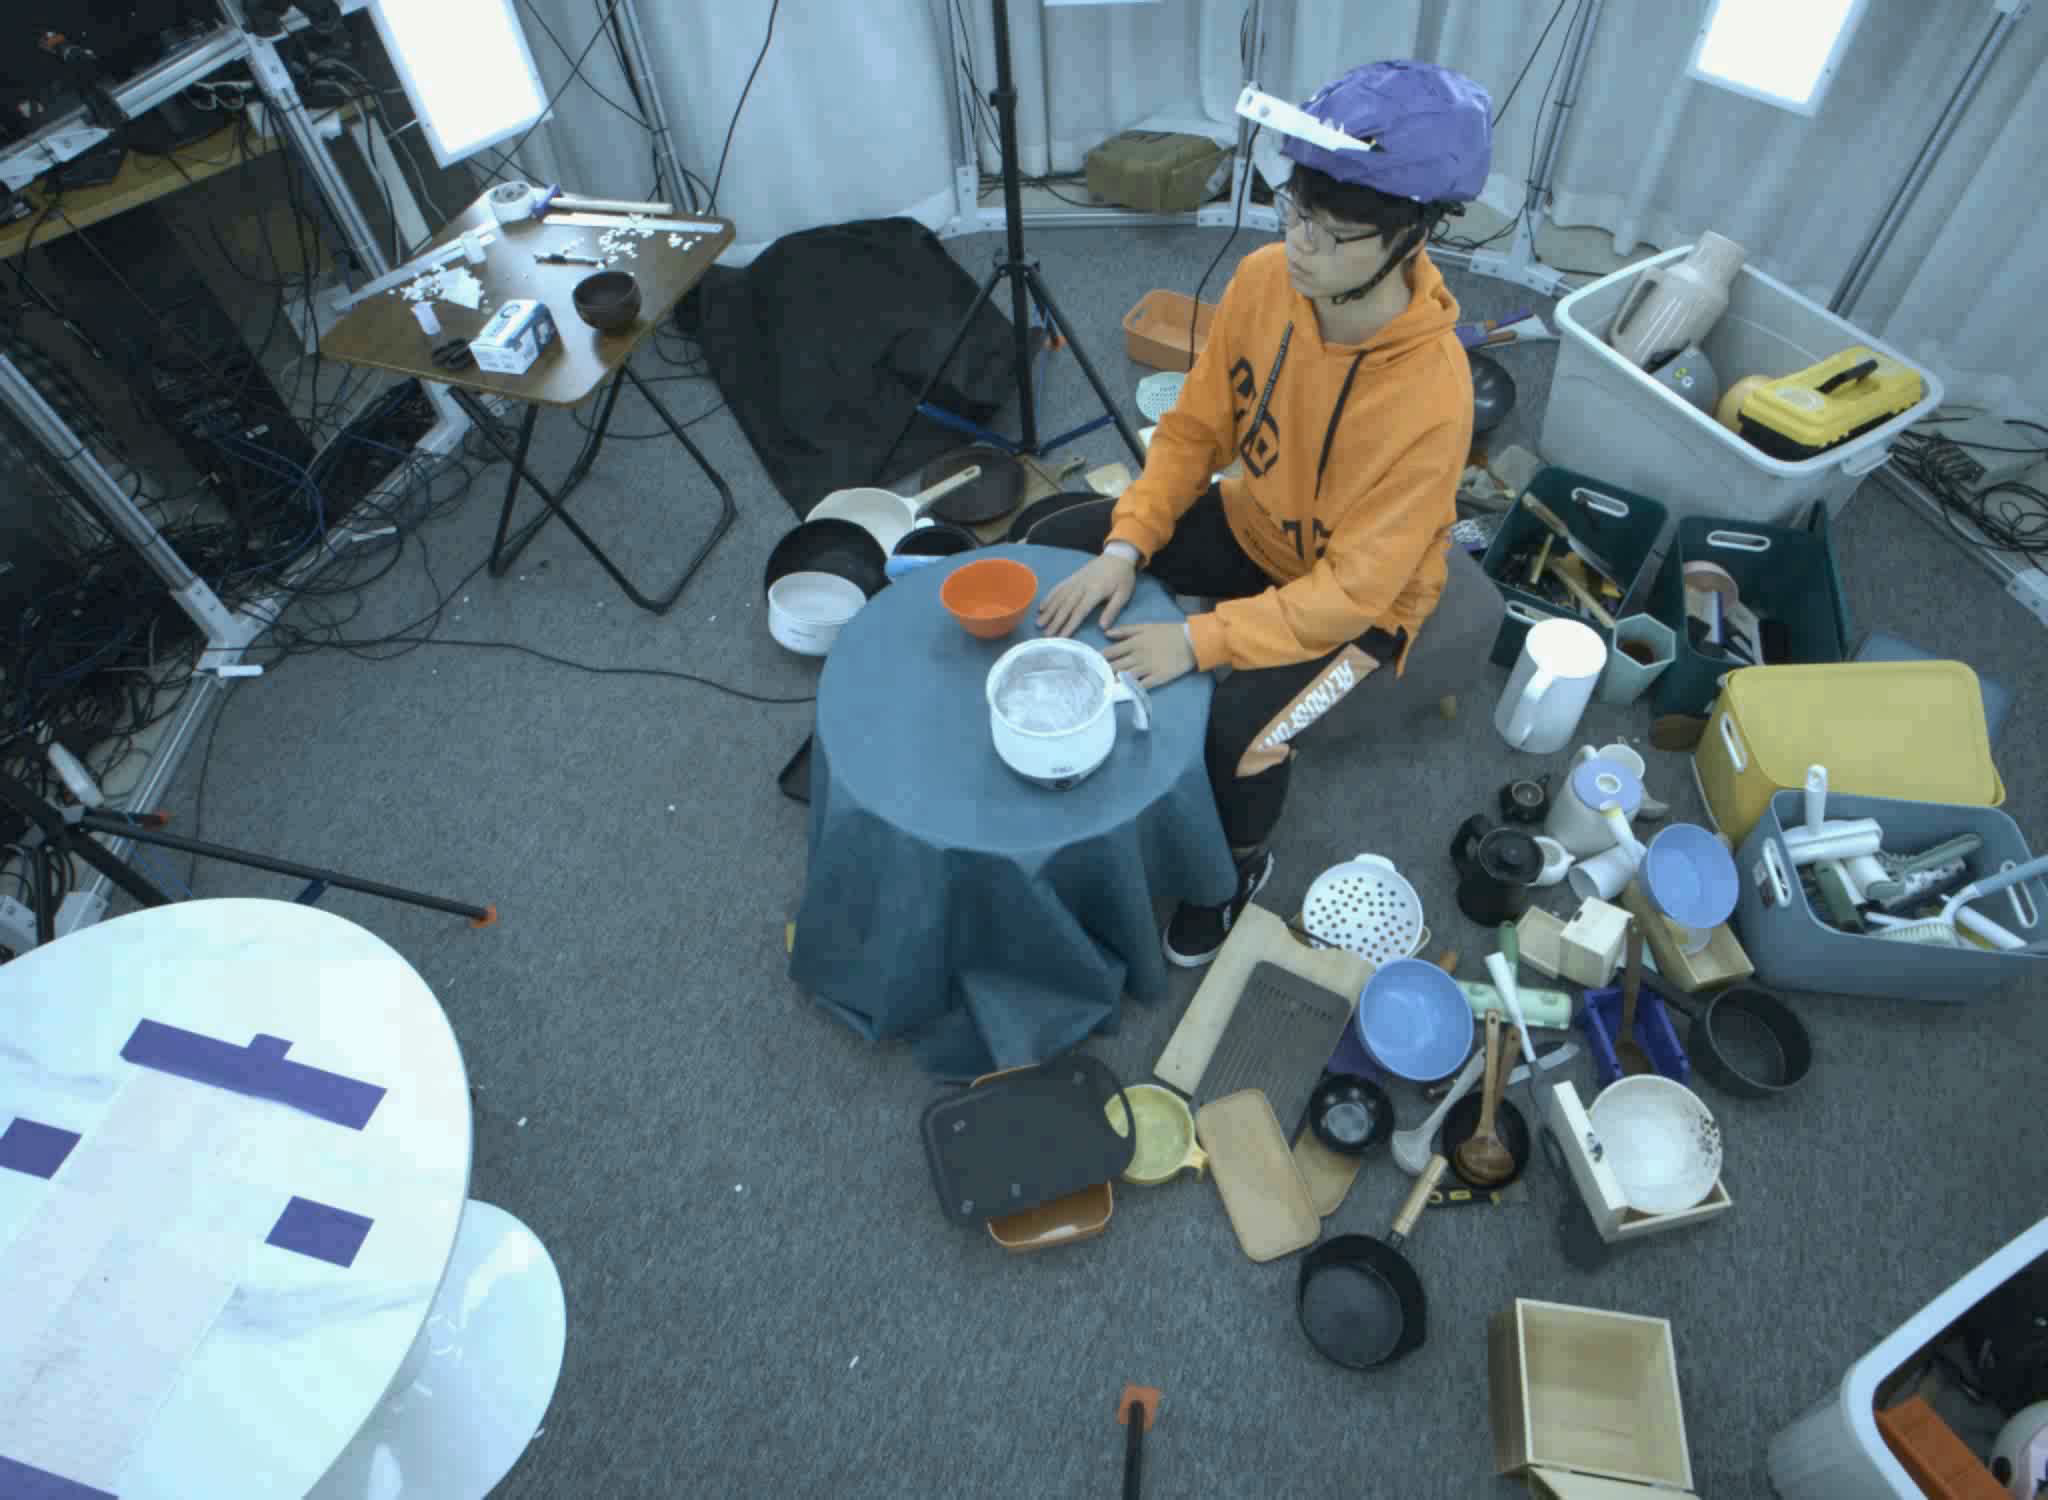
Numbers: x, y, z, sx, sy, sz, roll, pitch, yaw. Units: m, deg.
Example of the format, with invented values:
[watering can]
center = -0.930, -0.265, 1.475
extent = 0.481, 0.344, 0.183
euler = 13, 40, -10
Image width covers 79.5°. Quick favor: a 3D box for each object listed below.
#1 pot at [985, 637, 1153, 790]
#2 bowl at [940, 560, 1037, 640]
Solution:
[pot]
center = 0.067, -0.055, 1.739
extent = 0.234, 0.138, 0.176
euler = -9, 55, -4
[bowl]
center = -0.052, -0.219, 1.884
extent = 0.148, 0.106, 0.146
euler = -1, 53, 3
